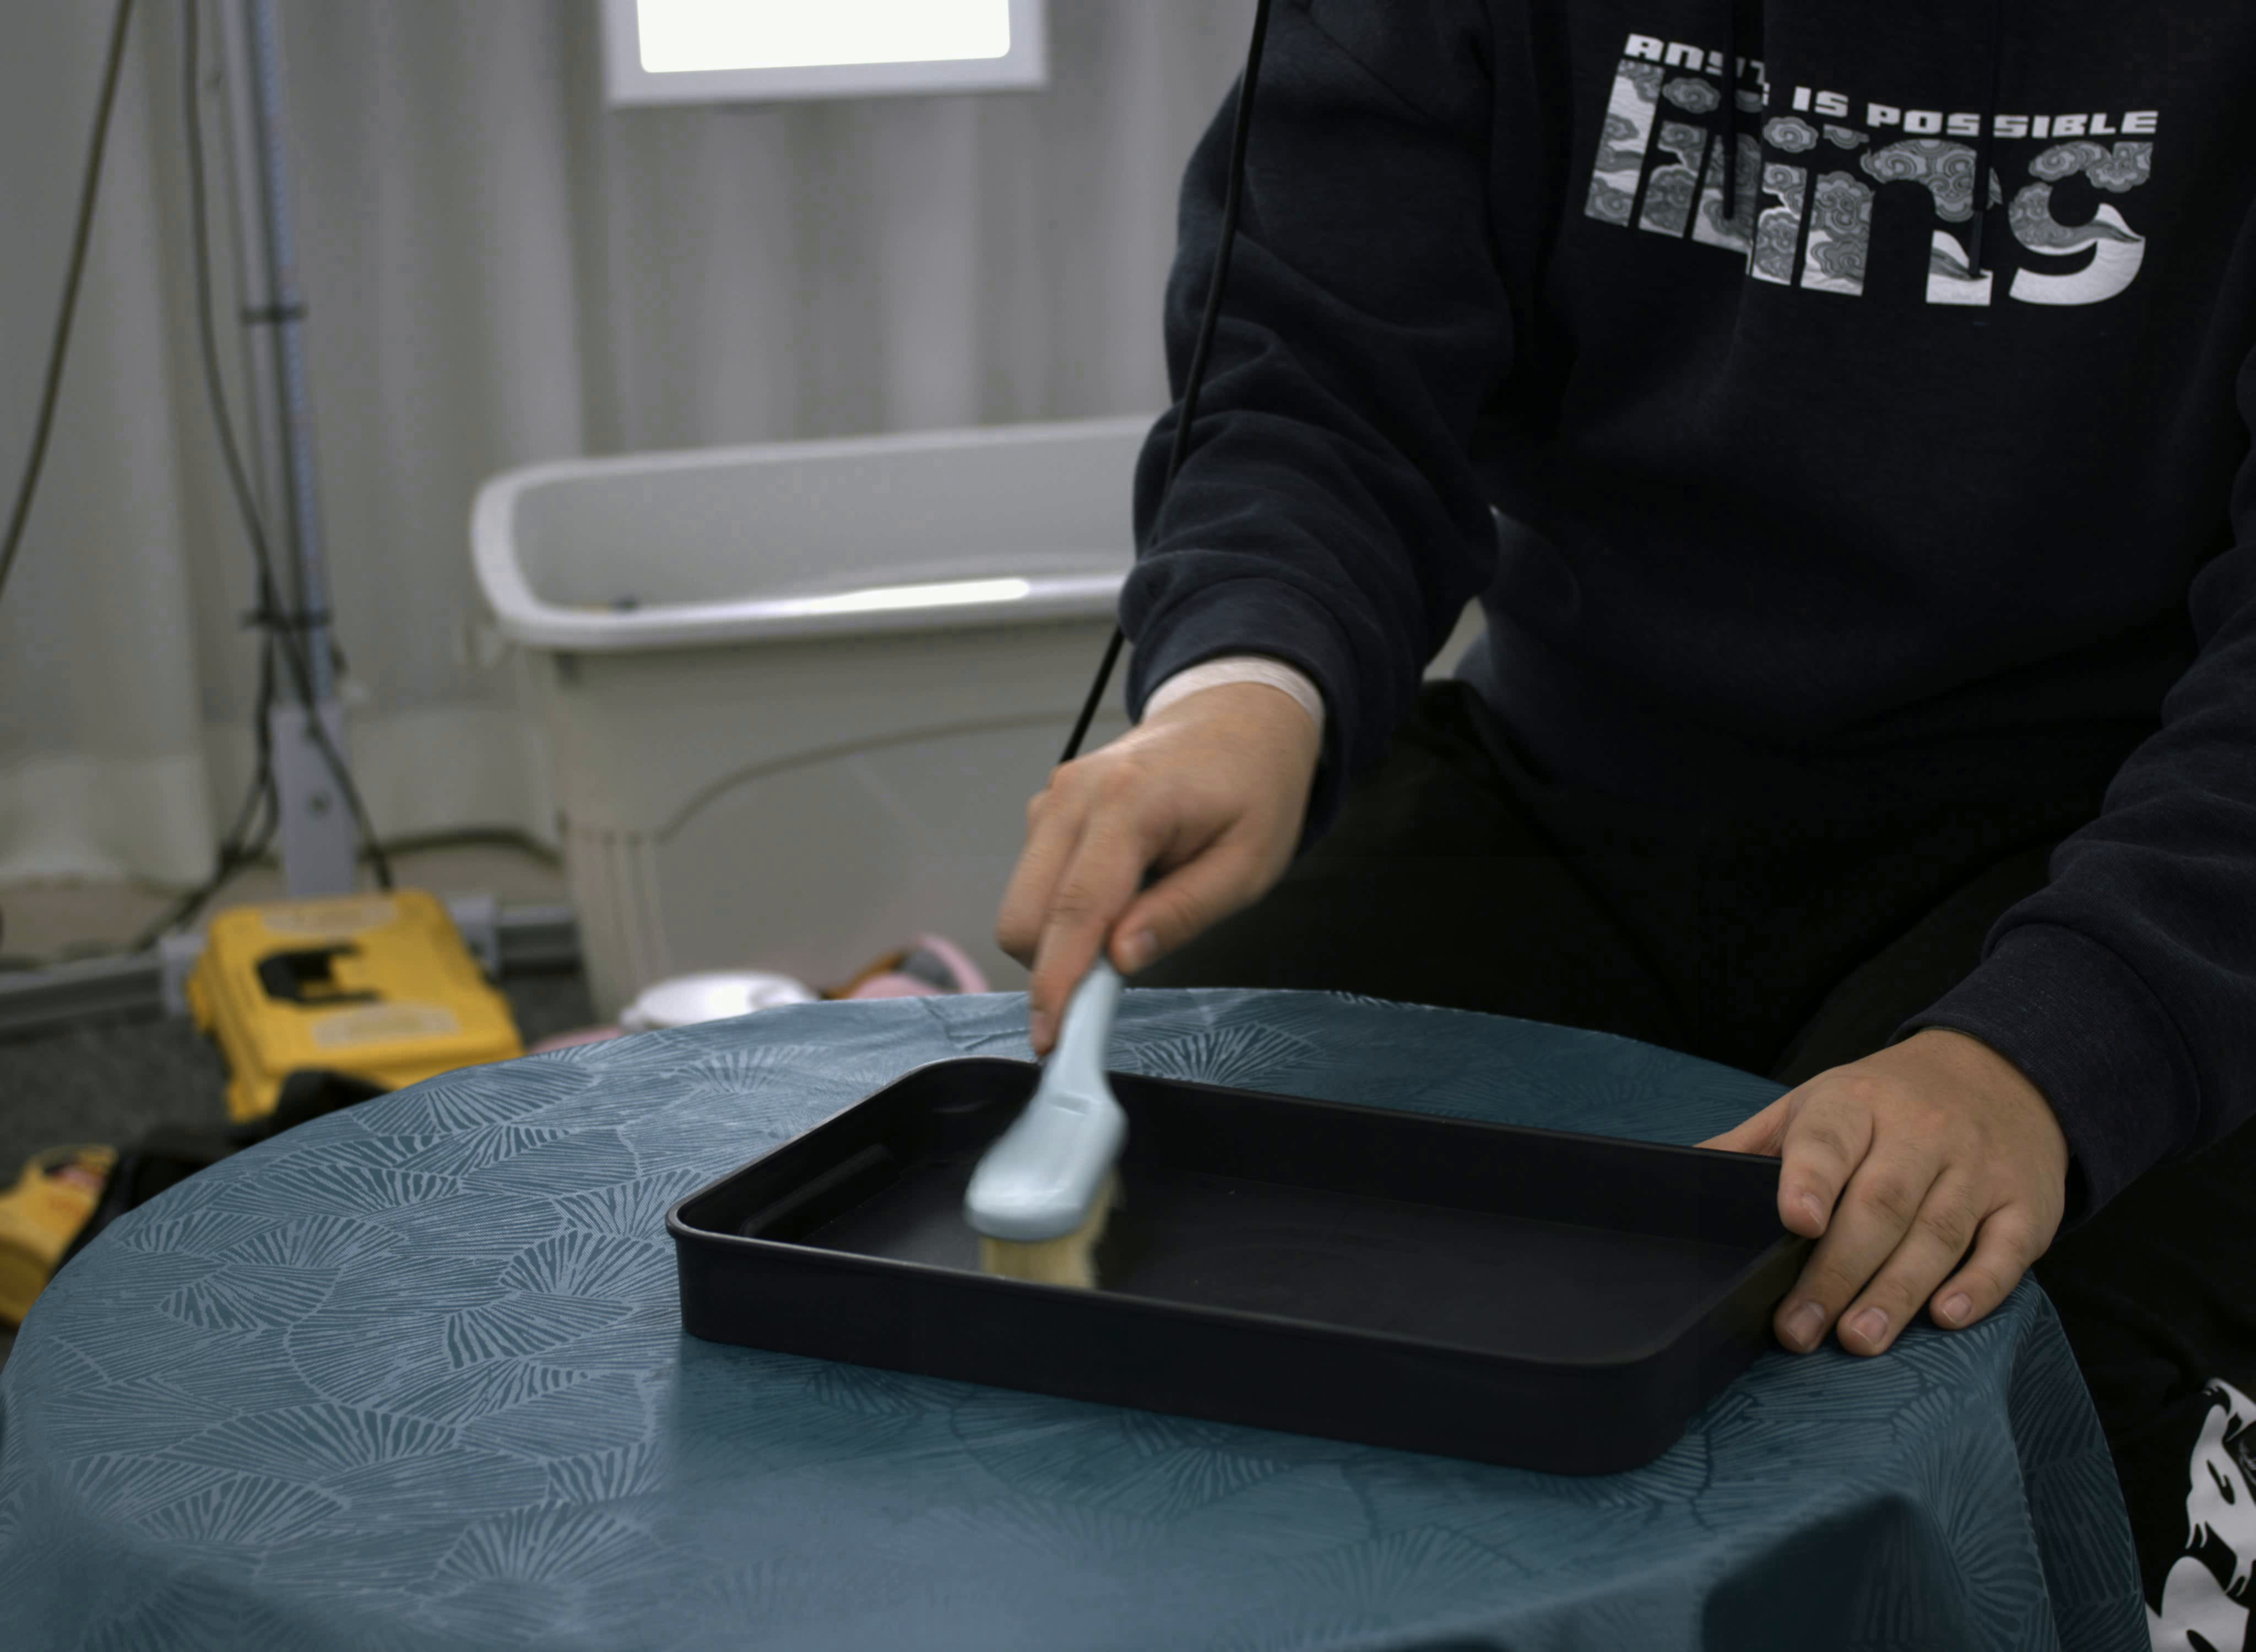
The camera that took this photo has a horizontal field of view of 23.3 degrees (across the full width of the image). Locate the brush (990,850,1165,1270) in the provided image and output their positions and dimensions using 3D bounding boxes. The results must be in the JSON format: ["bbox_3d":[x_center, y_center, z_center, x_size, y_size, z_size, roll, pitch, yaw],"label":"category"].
[{"bbox_3d":[-0.010,0.072,1.702,0.037,0.049,0.231,-4,30,9],"label":"brush"}]

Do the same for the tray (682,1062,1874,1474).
[{"bbox_3d":[0.044,0.125,1.602,0.318,0.037,0.184,5,16,27],"label":"tray"}]
